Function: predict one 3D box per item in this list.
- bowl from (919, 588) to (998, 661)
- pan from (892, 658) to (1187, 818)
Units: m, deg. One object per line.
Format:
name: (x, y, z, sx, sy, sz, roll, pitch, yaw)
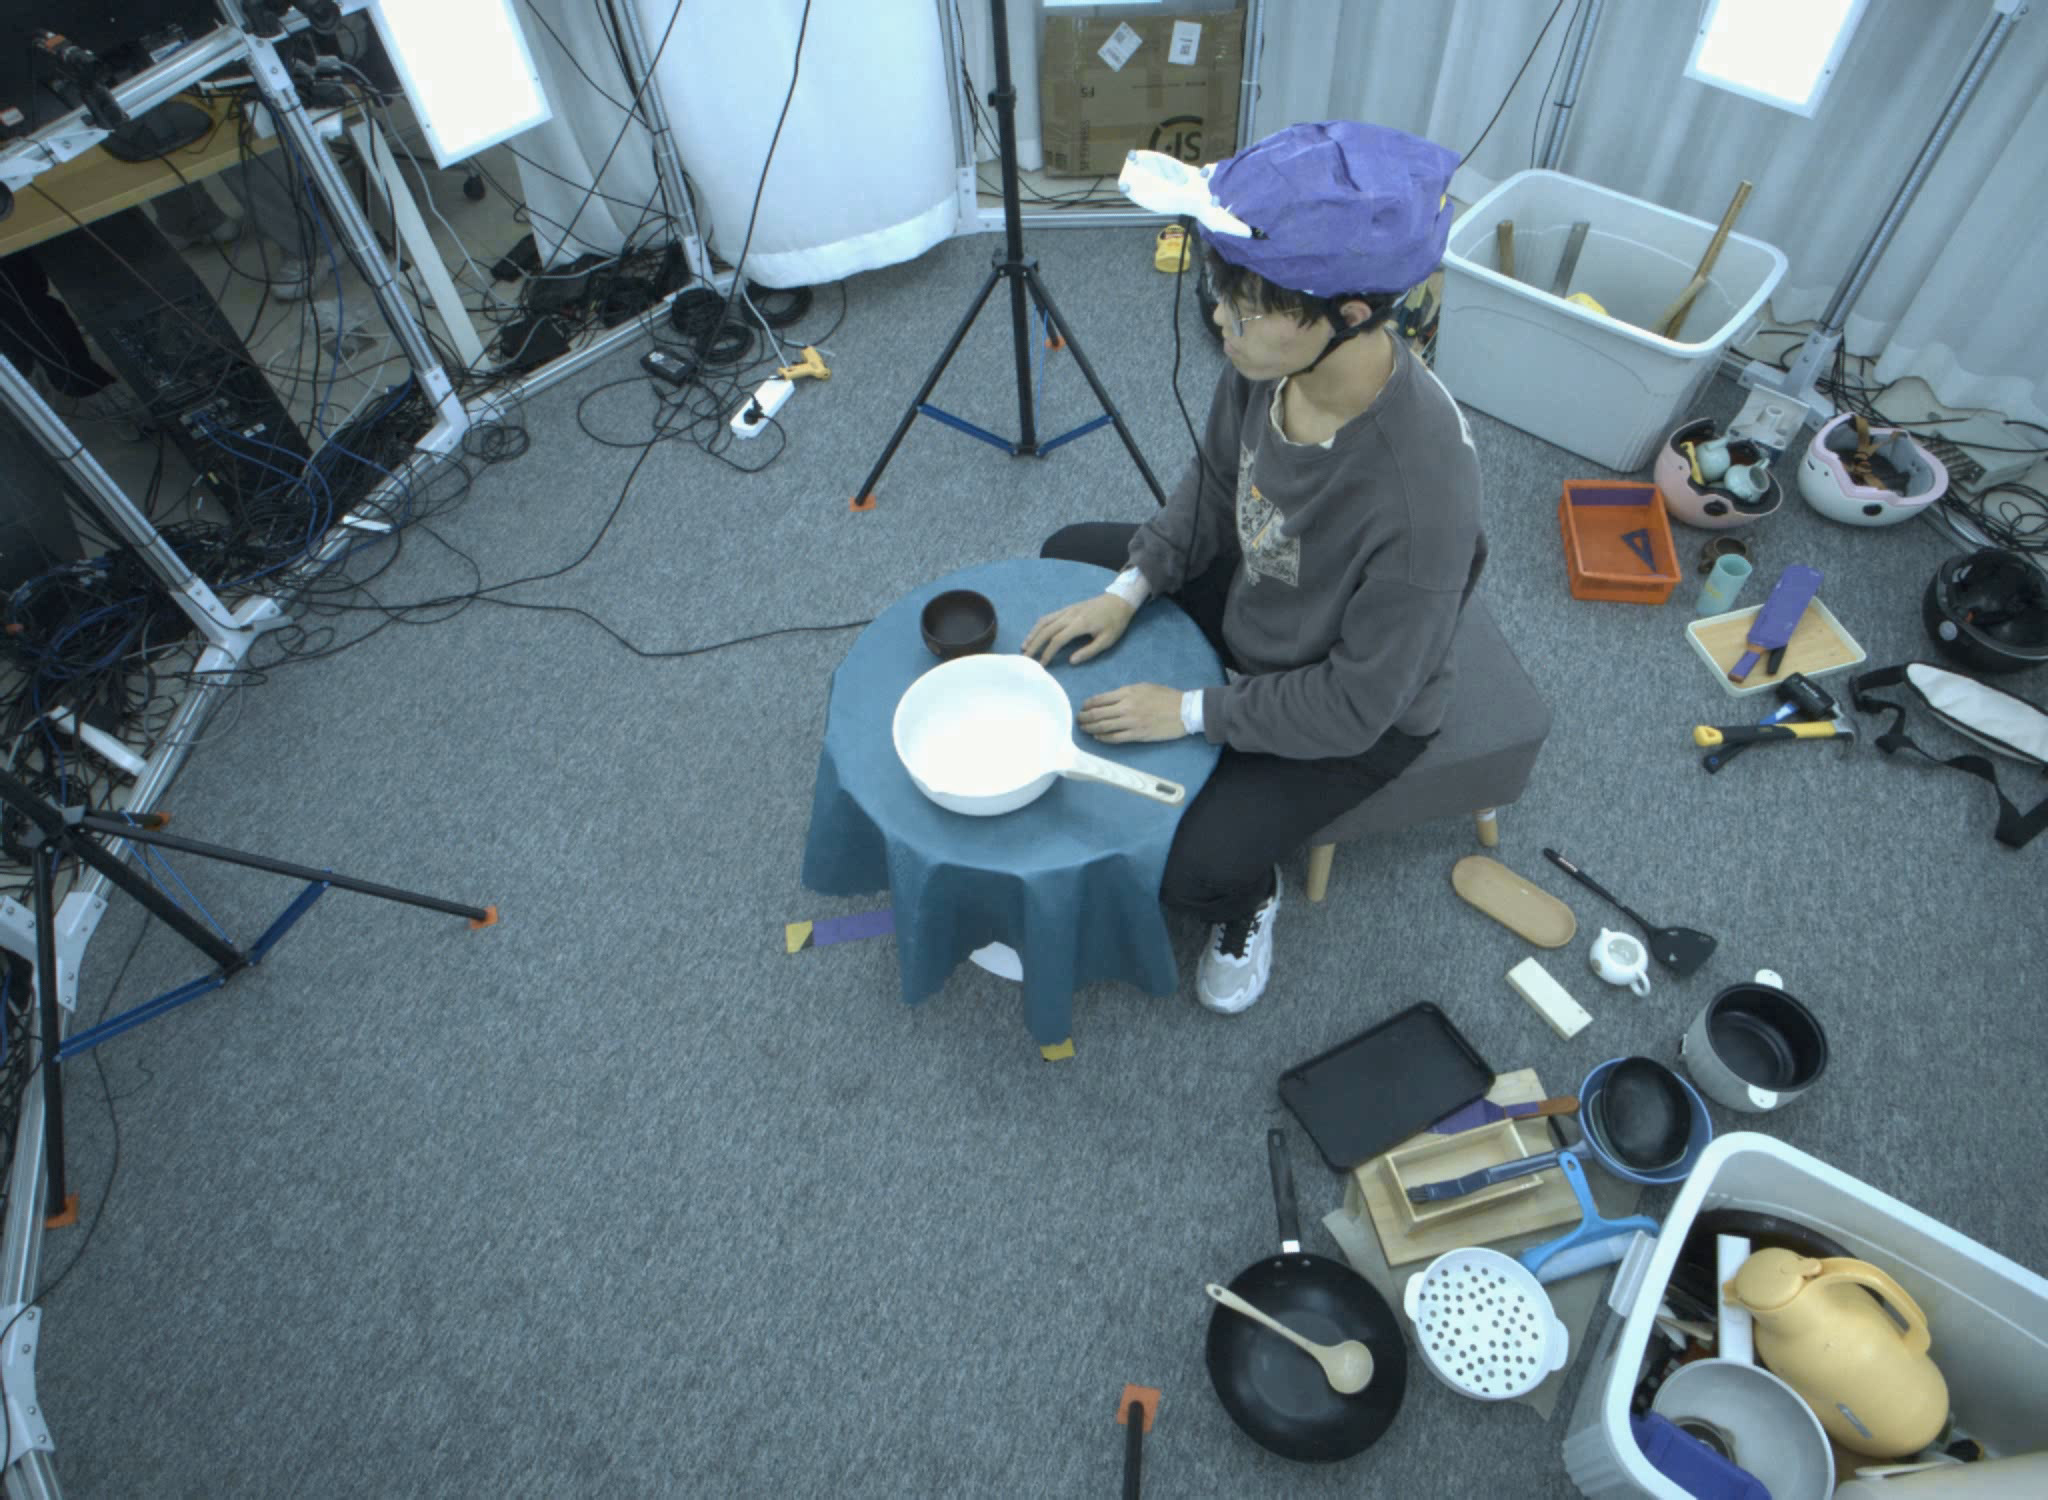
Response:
bowl: (-0.099, -0.183, 1.875, 0.118, 0.070, 0.117, 0, 52, 2)
pan: (0.022, 0.017, 1.711, 0.429, 0.103, 0.264, 23, 56, 17)
